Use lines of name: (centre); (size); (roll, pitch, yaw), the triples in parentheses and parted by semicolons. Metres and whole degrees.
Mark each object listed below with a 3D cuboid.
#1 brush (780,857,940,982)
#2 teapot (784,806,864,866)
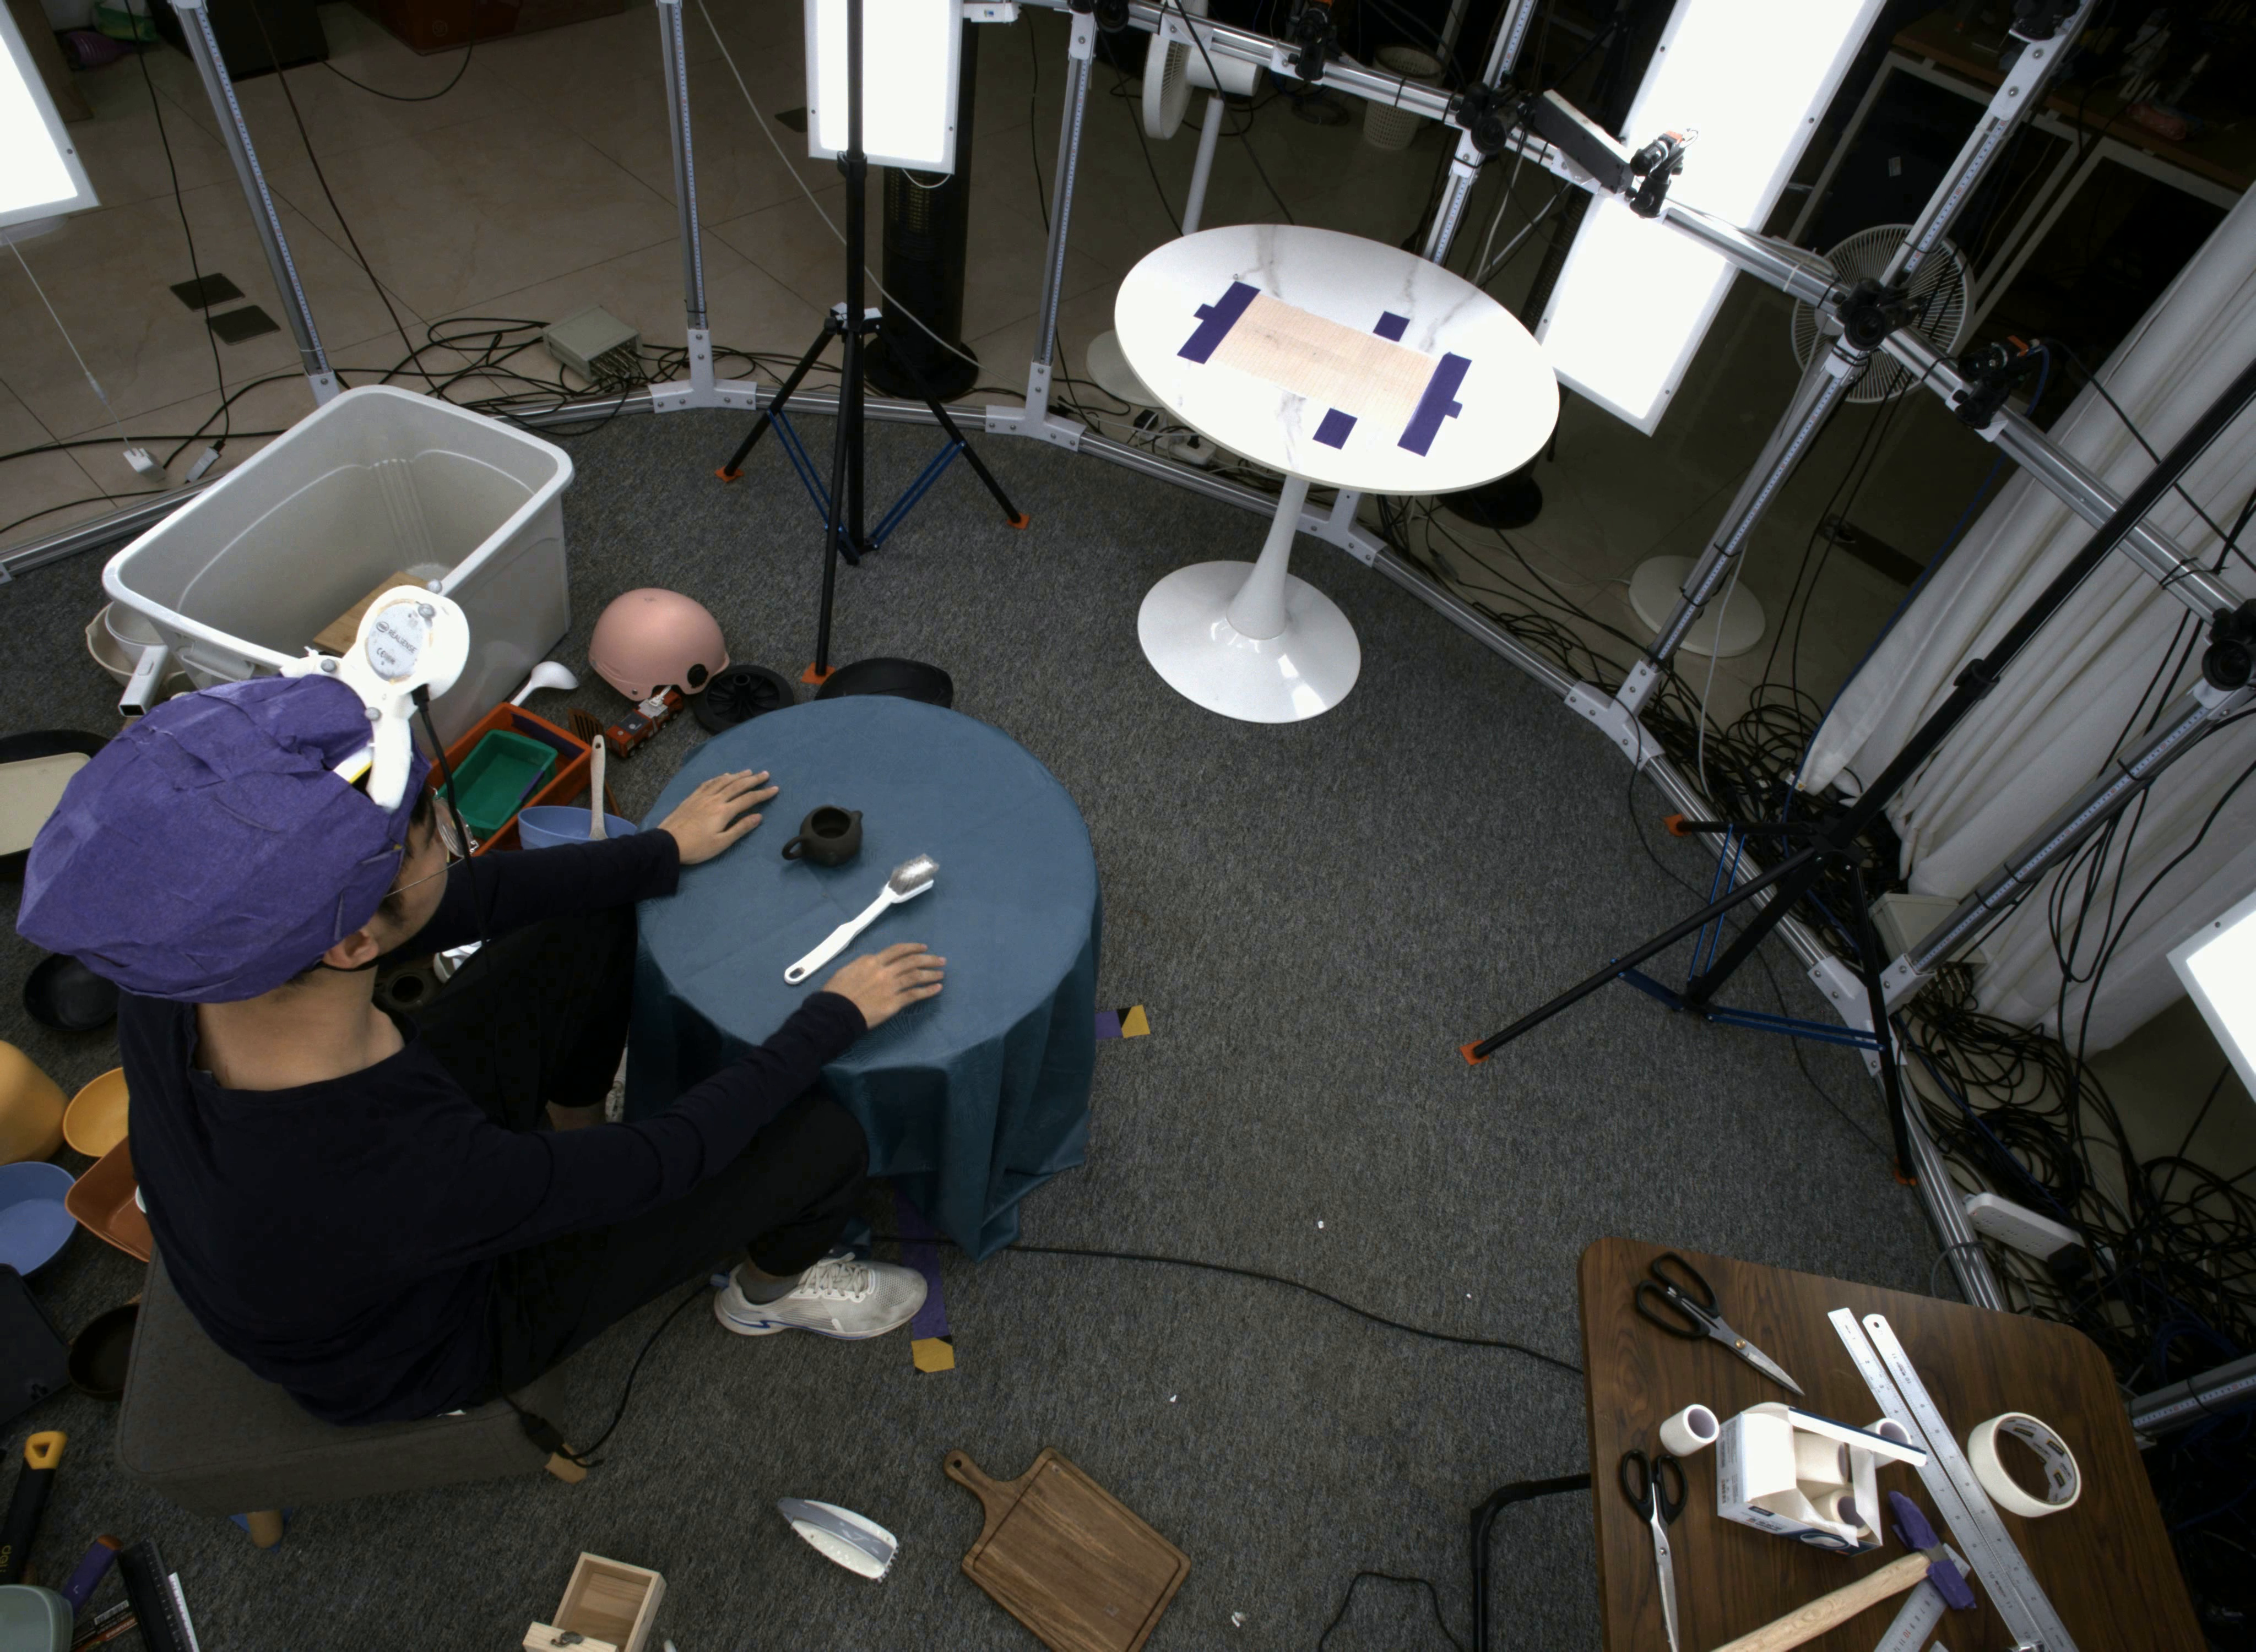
brush: (-0.336, 0.112, 1.634); (0.034, 0.051, 0.244); (43, 56, 16)
teapot: (-0.396, 0.015, 1.688); (0.114, 0.054, 0.081); (-25, 63, -28)
